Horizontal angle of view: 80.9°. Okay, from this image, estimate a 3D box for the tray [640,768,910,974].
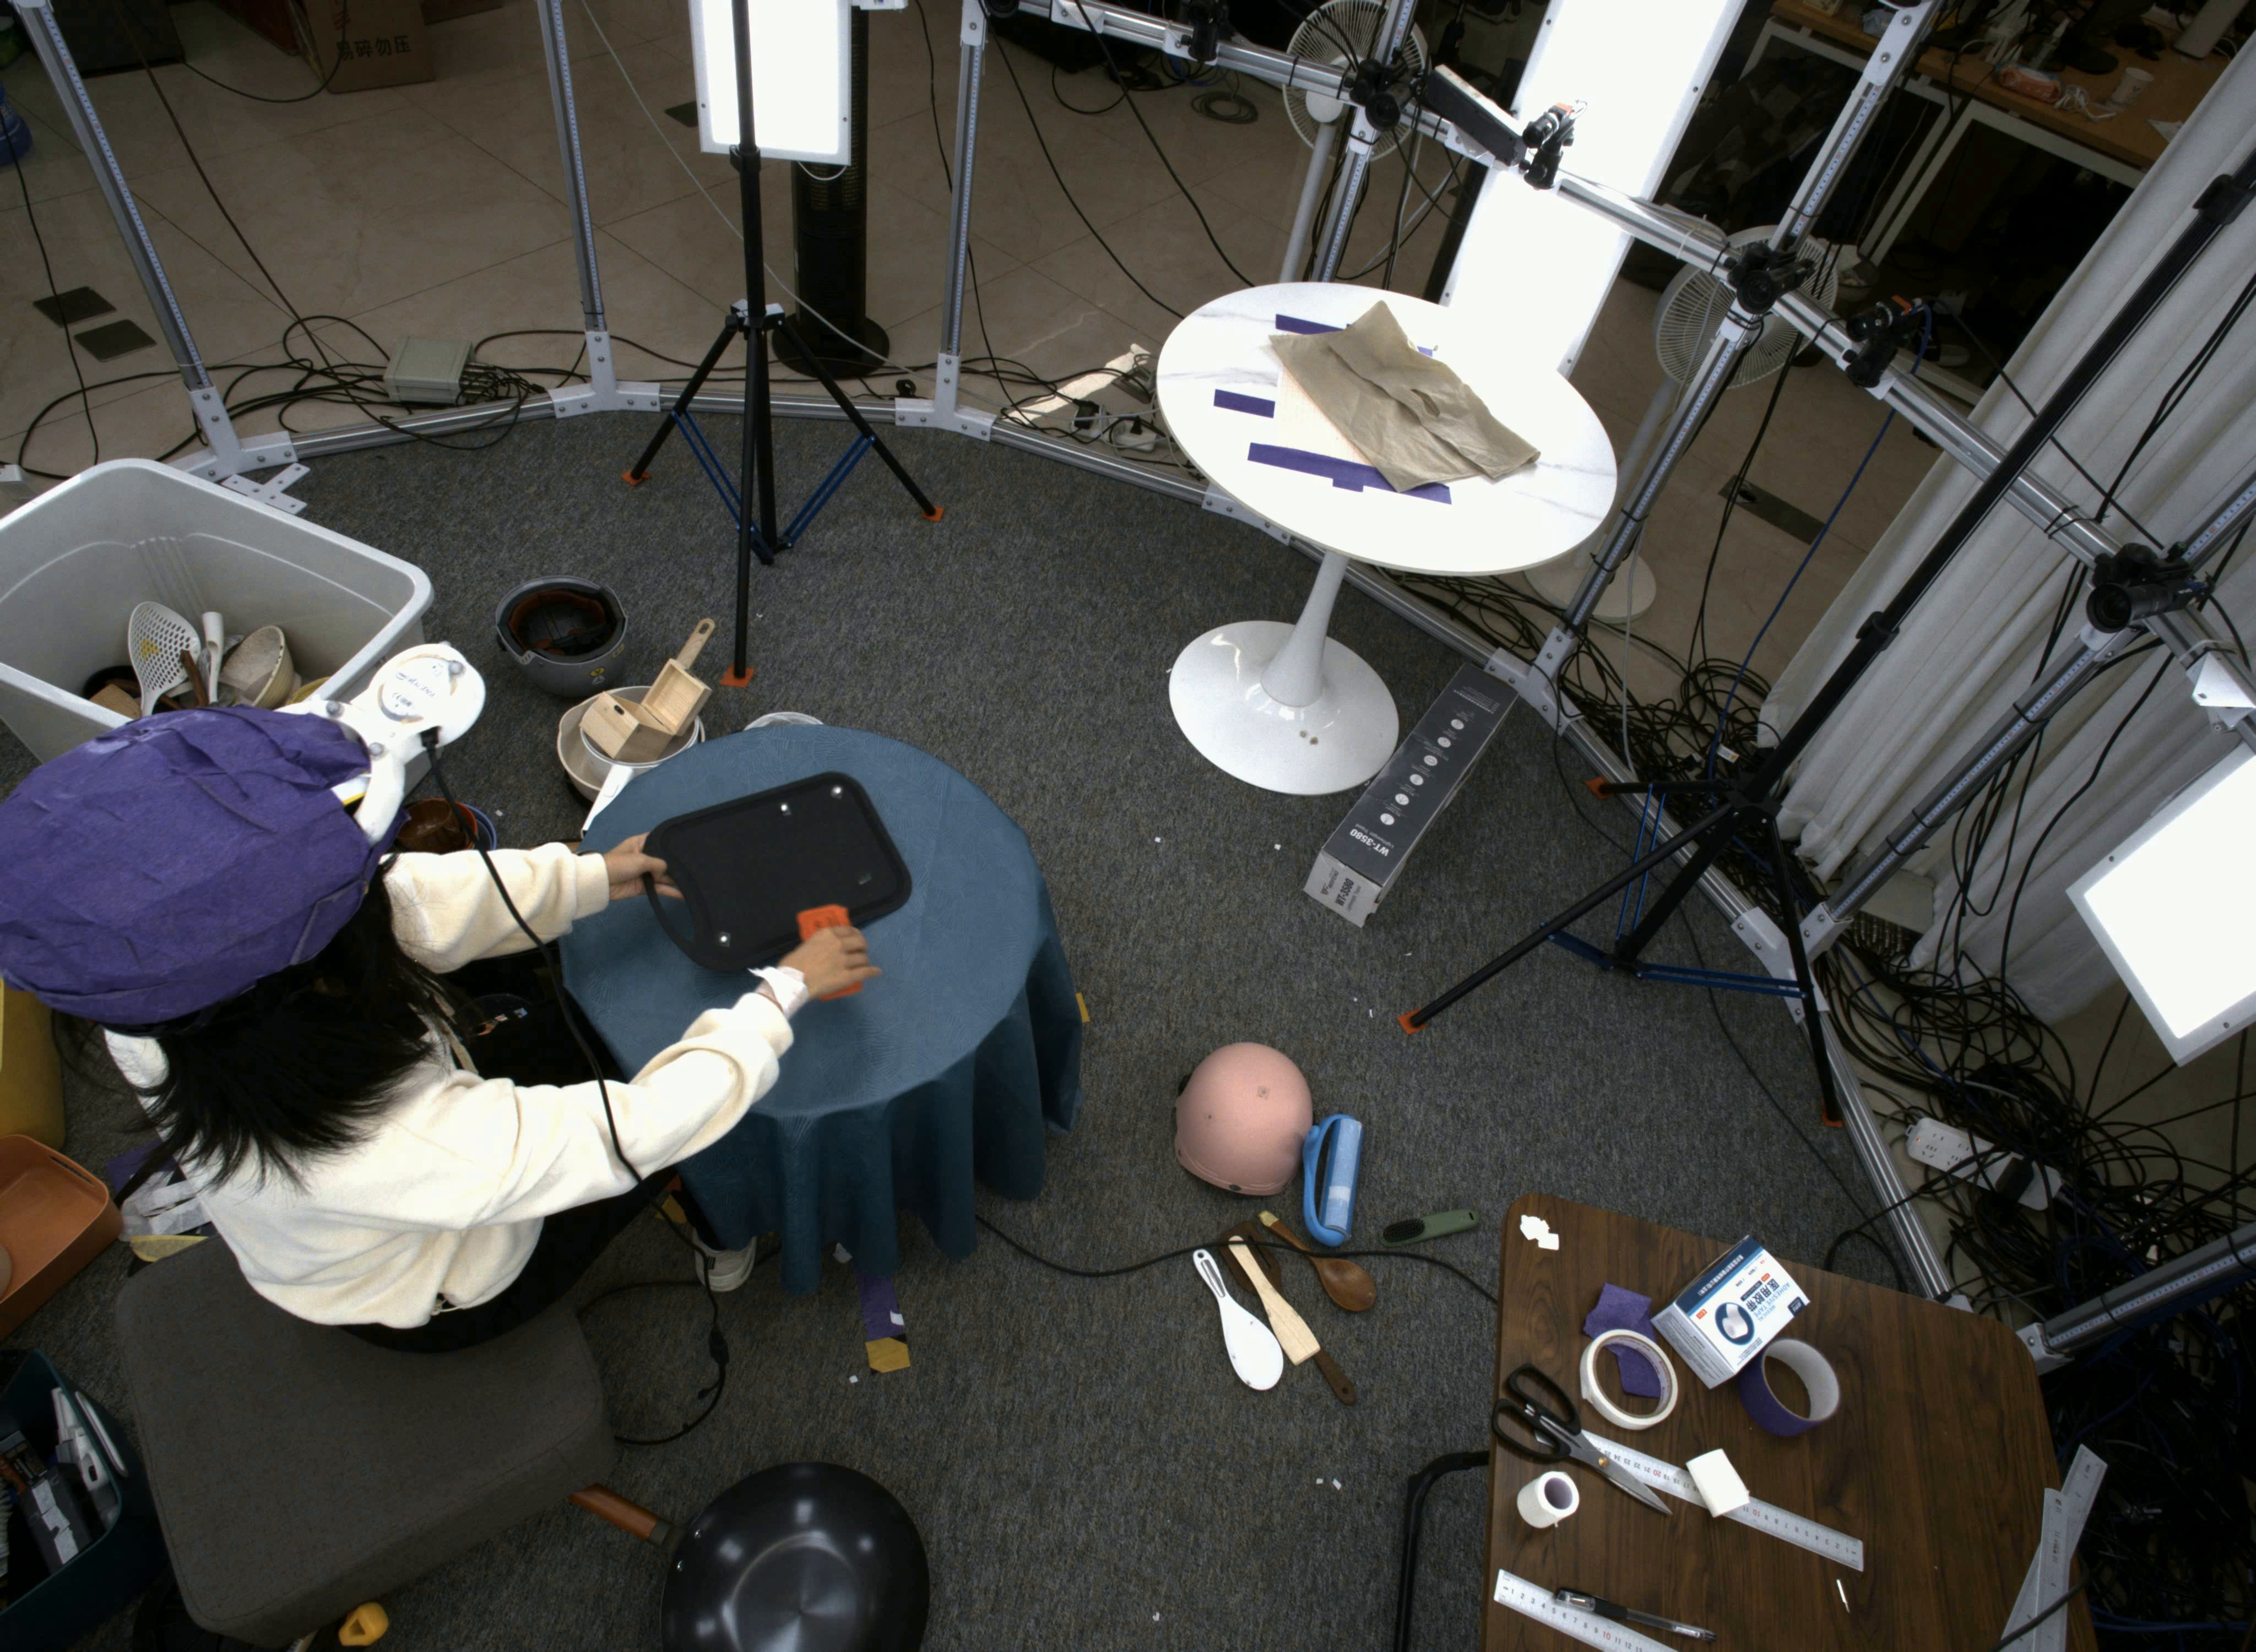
[{"bbox_3d":[-0.439,0.051,1.611,0.328,0.010,0.210,-22,80,-37],"label":"tray"}]

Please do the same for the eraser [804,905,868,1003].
[{"bbox_3d":[-0.345,0.149,1.532,0.059,0.022,0.109,-13,91,-18],"label":"eraser"}]
